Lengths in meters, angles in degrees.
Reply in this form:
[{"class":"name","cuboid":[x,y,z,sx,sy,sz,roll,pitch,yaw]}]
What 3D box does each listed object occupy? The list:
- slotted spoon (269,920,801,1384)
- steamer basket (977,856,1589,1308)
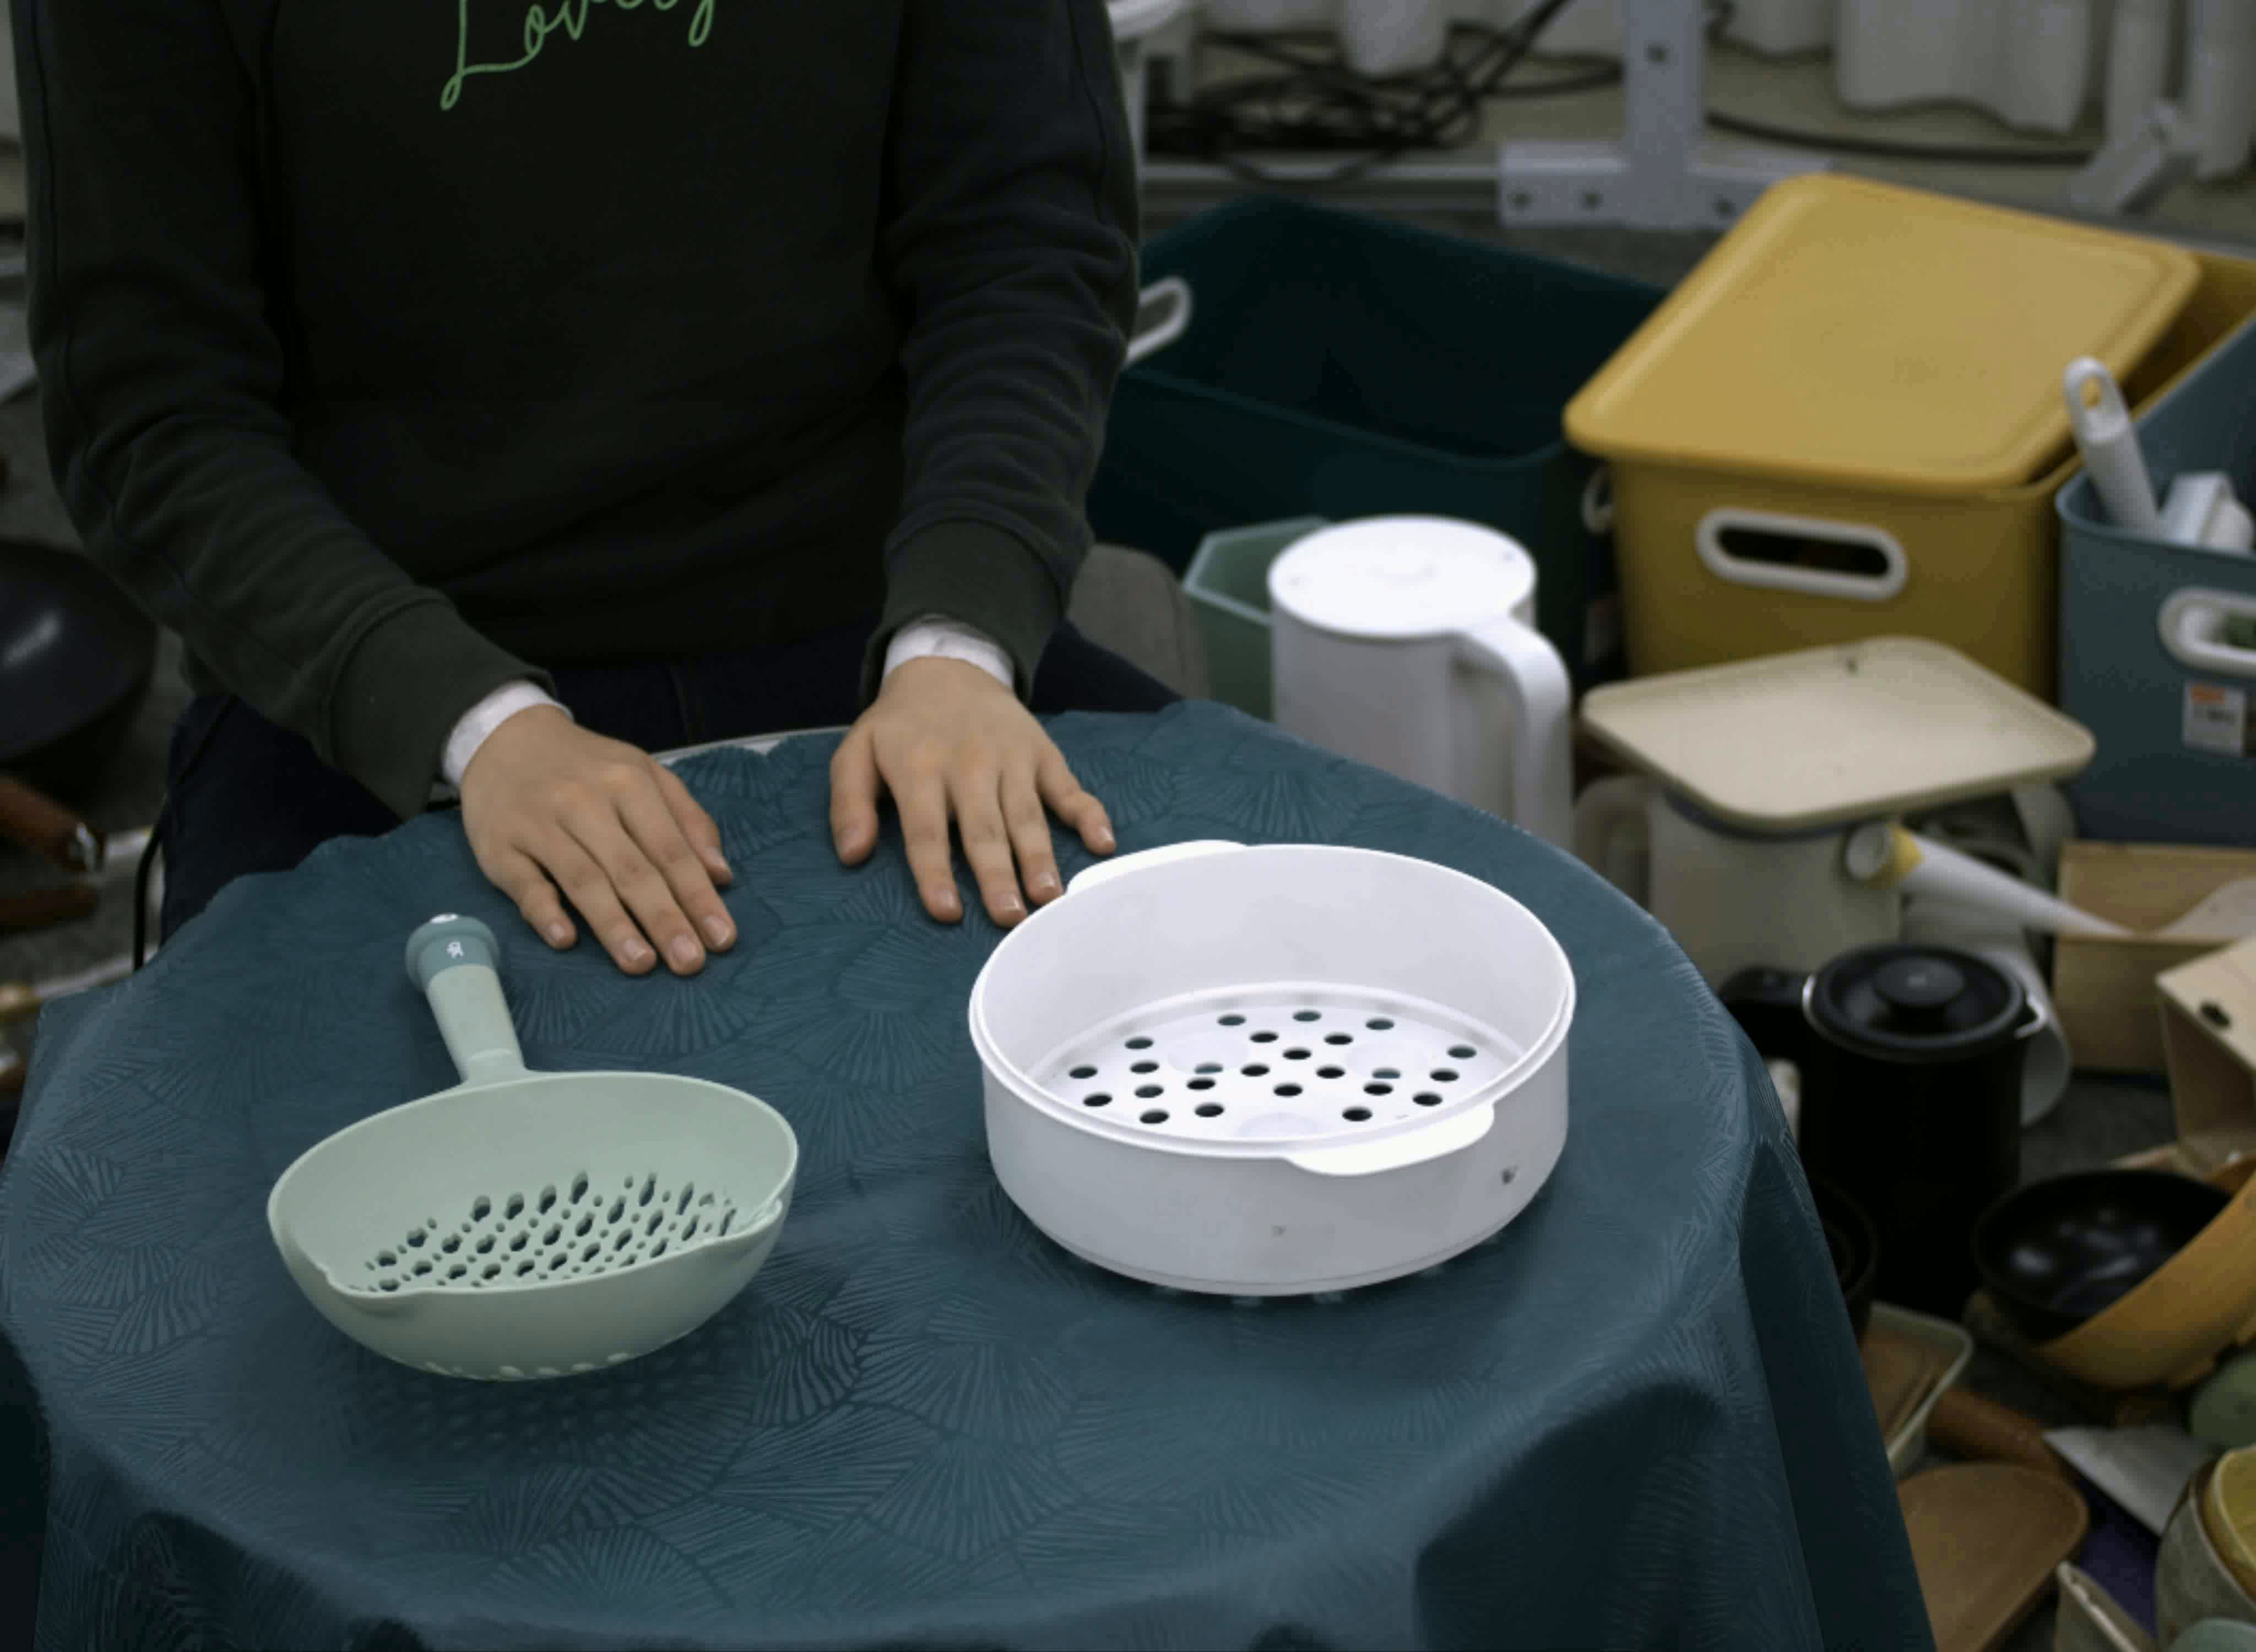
[{"class":"slotted spoon","cuboid":[-0.208,0.093,1.869,0.169,0.074,0.363,-8,27,-11]},{"class":"steamer basket","cuboid":[0.052,0.085,1.857,0.202,0.068,0.232,-12,28,-20]}]
